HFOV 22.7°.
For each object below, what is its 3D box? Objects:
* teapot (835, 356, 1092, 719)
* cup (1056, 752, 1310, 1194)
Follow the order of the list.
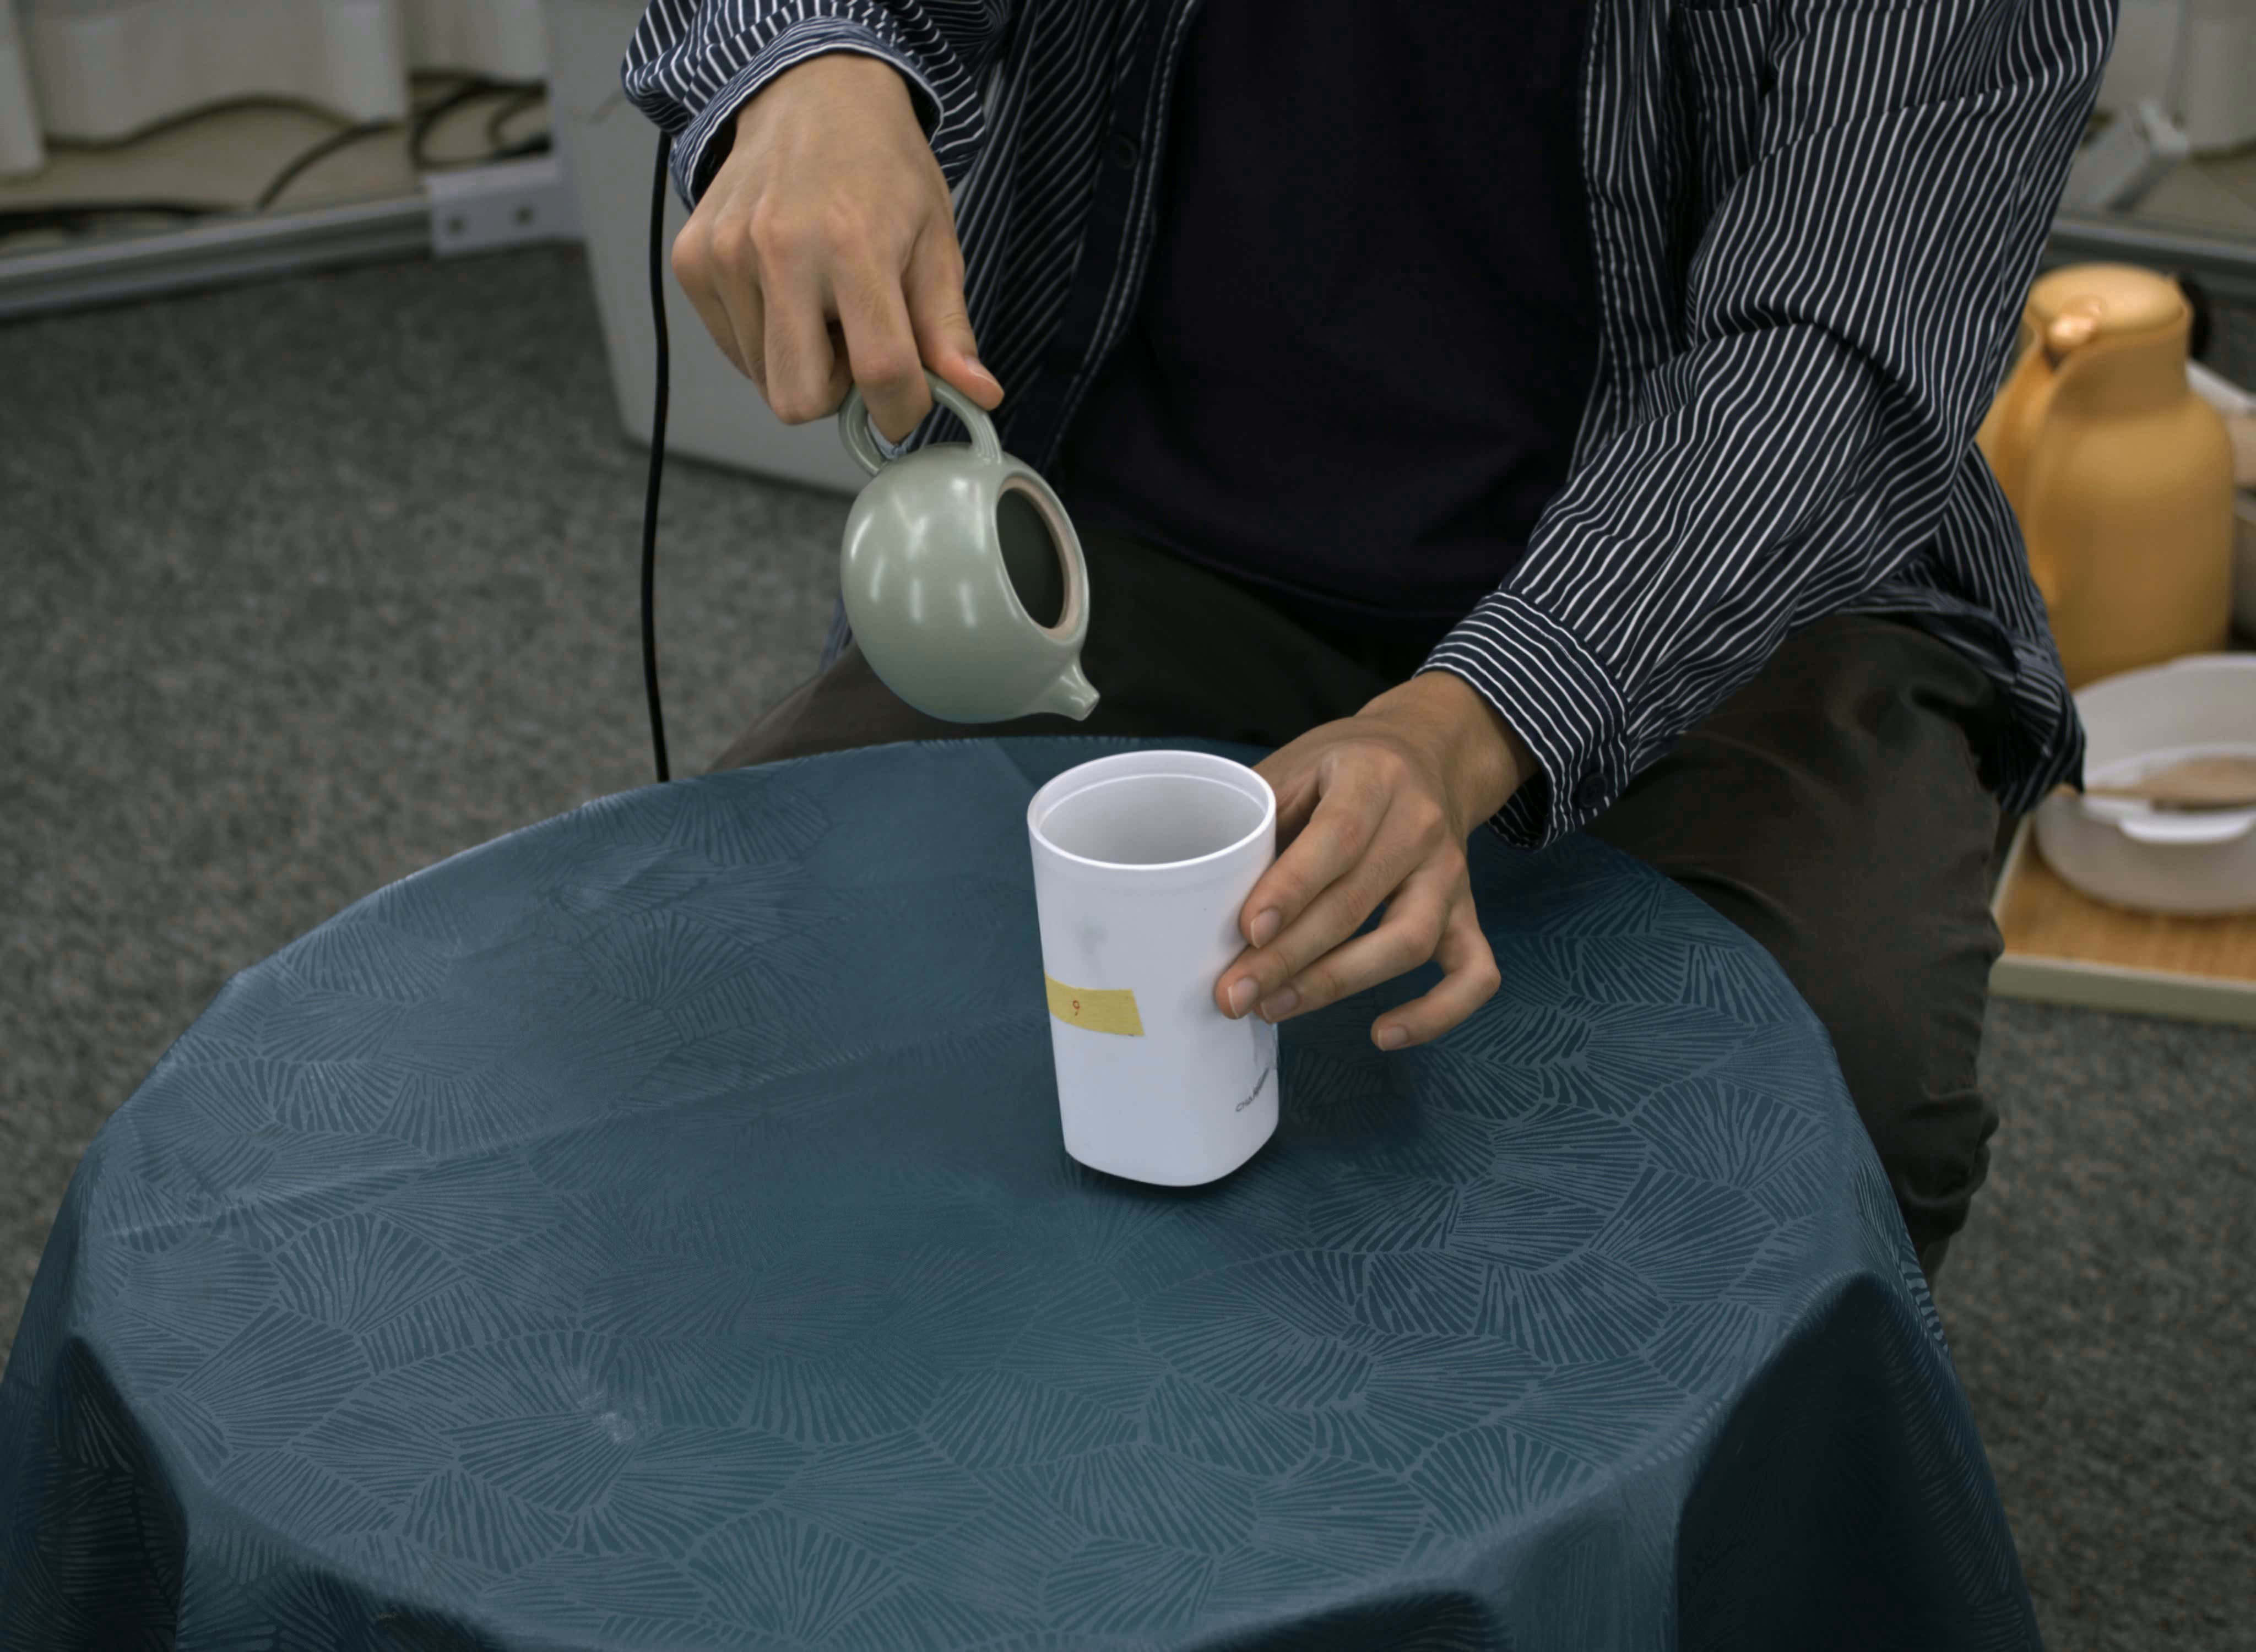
[{"bbox_3d":[-0.058,-0.088,1.800,0.060,0.129,0.092,-19,2,26],"label":"teapot"},{"bbox_3d":[0.021,0.050,1.839,0.081,0.124,0.083,-3,26,2],"label":"cup"}]
